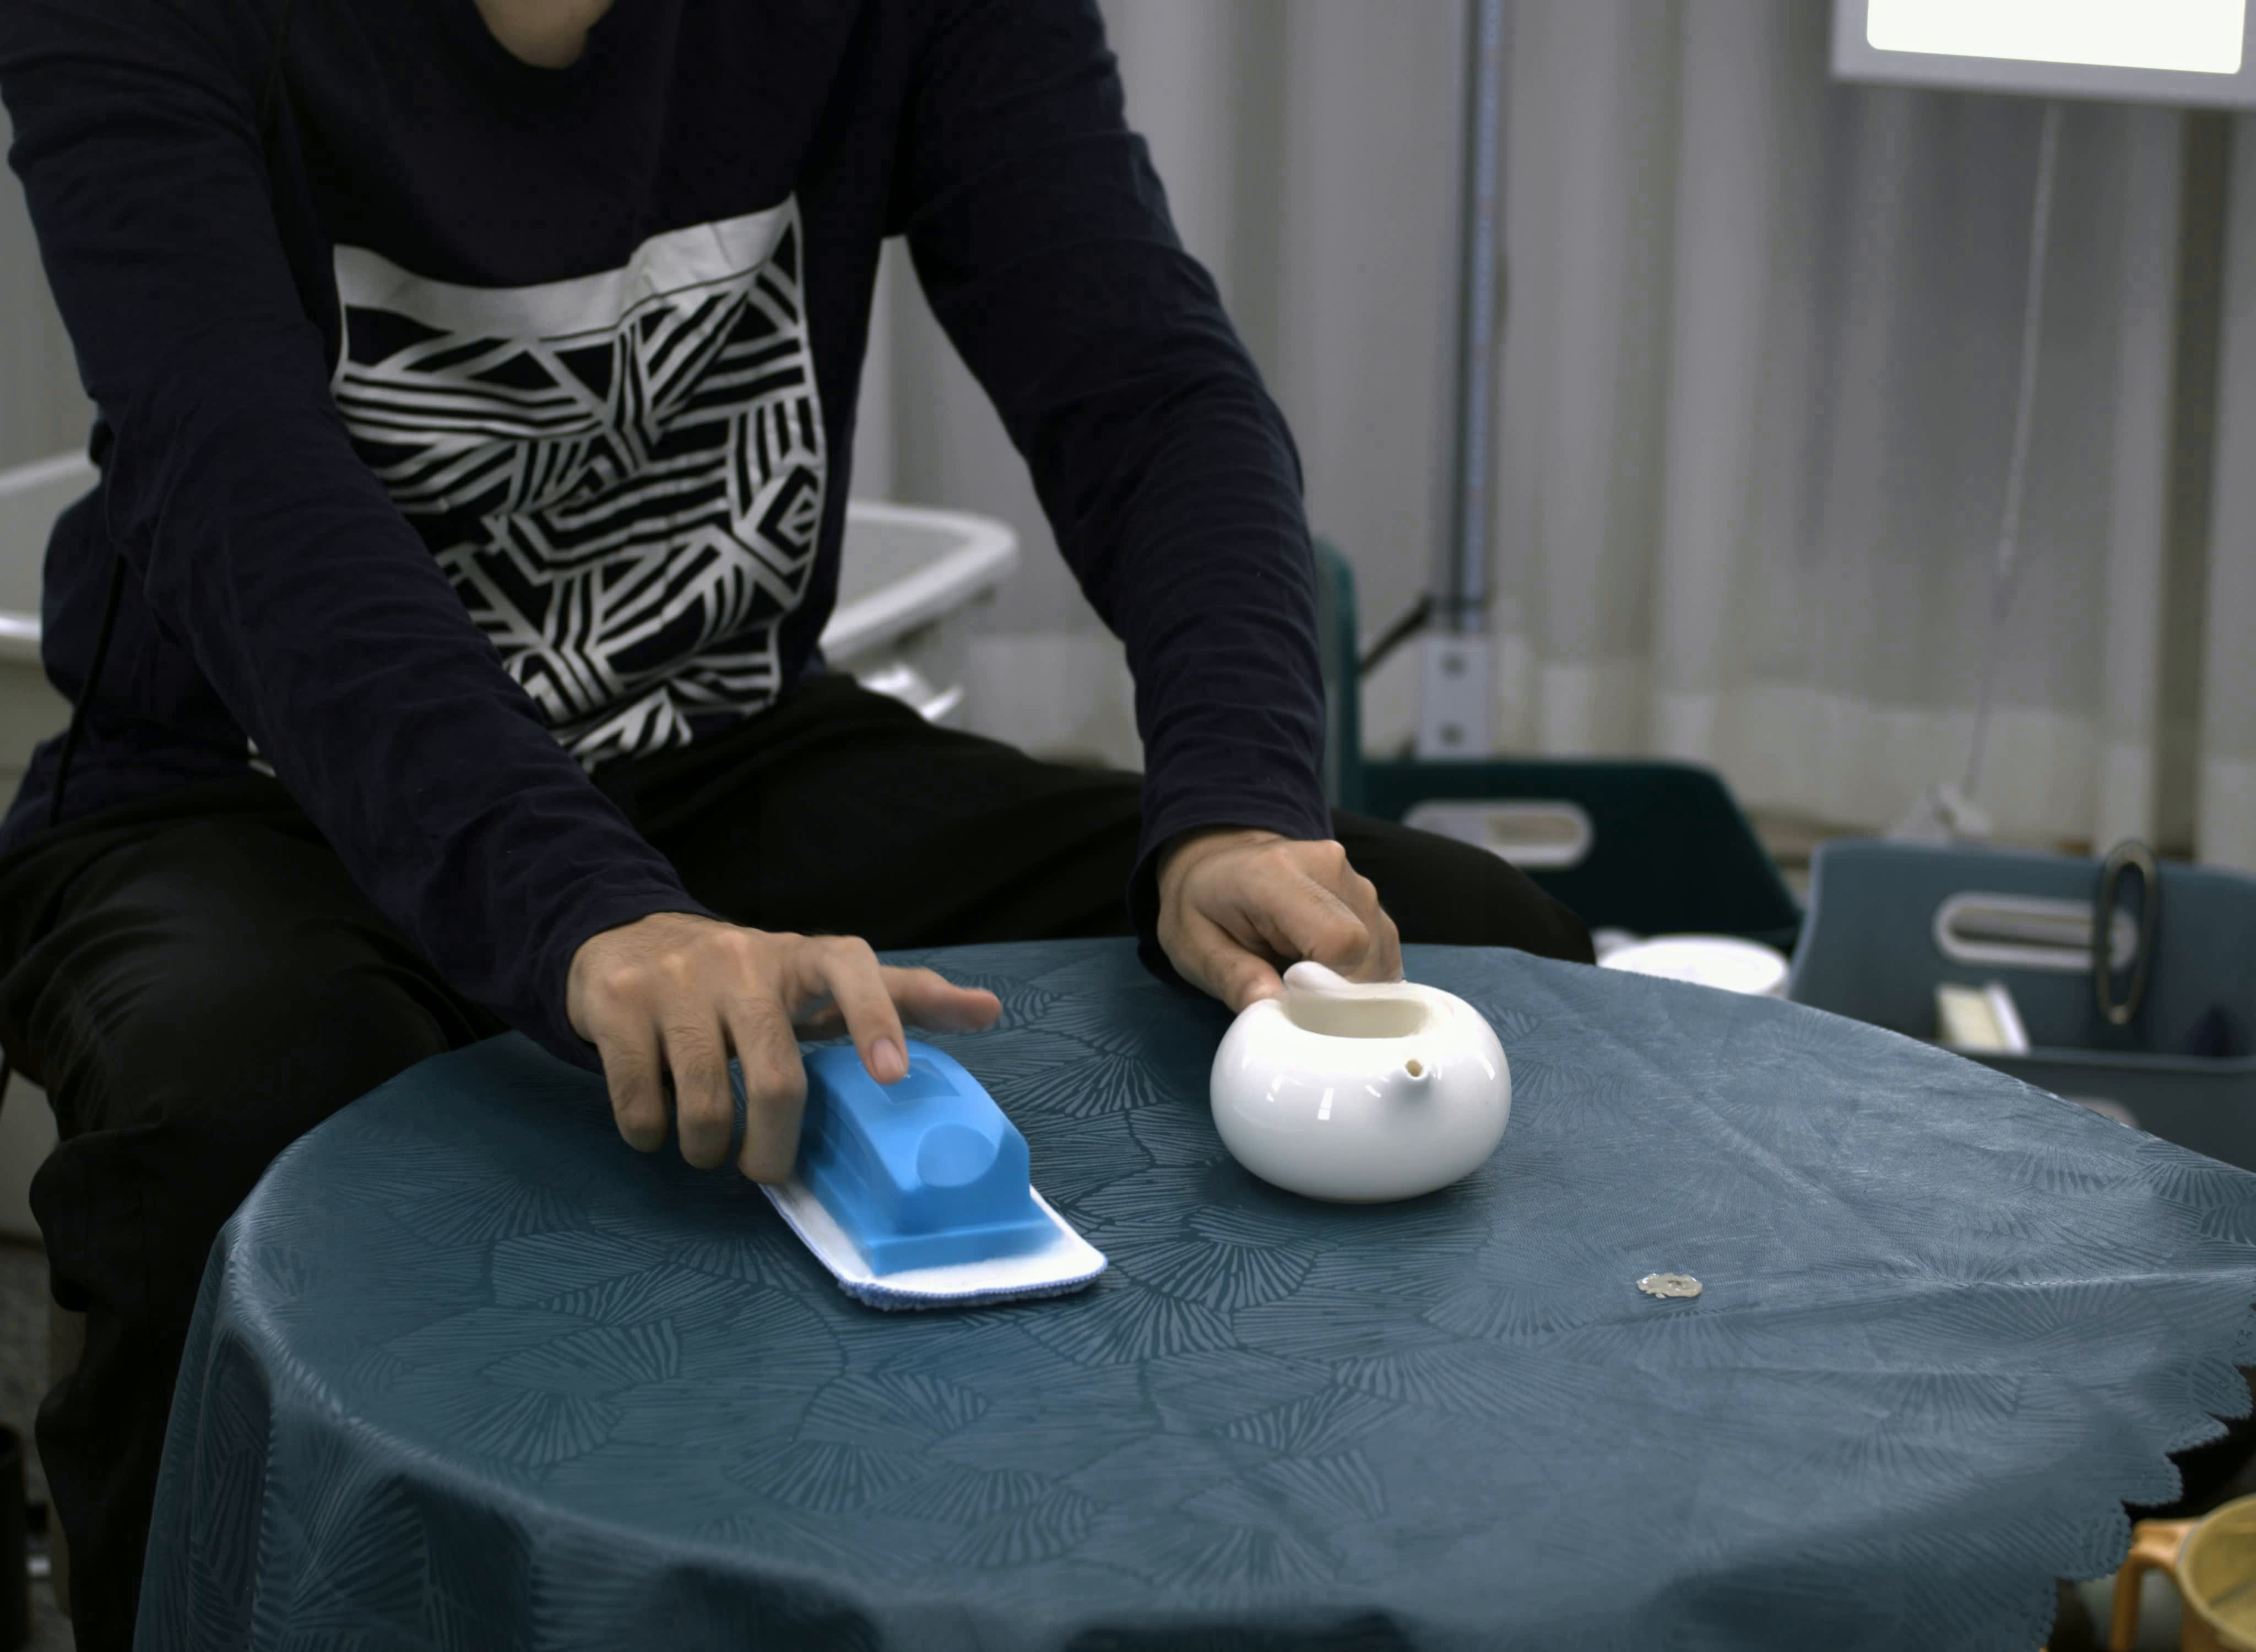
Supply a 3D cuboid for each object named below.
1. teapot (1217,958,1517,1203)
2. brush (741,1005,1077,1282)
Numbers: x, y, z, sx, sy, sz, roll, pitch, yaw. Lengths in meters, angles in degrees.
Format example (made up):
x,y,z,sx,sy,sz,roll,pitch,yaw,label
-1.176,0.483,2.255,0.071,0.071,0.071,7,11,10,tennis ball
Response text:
x,y,z,sx,sy,sz,roll,pitch,yaw,label
0.070,0.079,1.644,0.094,0.057,0.126,-10,19,-21,teapot
-0.065,0.092,1.582,0.084,0.056,0.142,-1,18,-15,brush
